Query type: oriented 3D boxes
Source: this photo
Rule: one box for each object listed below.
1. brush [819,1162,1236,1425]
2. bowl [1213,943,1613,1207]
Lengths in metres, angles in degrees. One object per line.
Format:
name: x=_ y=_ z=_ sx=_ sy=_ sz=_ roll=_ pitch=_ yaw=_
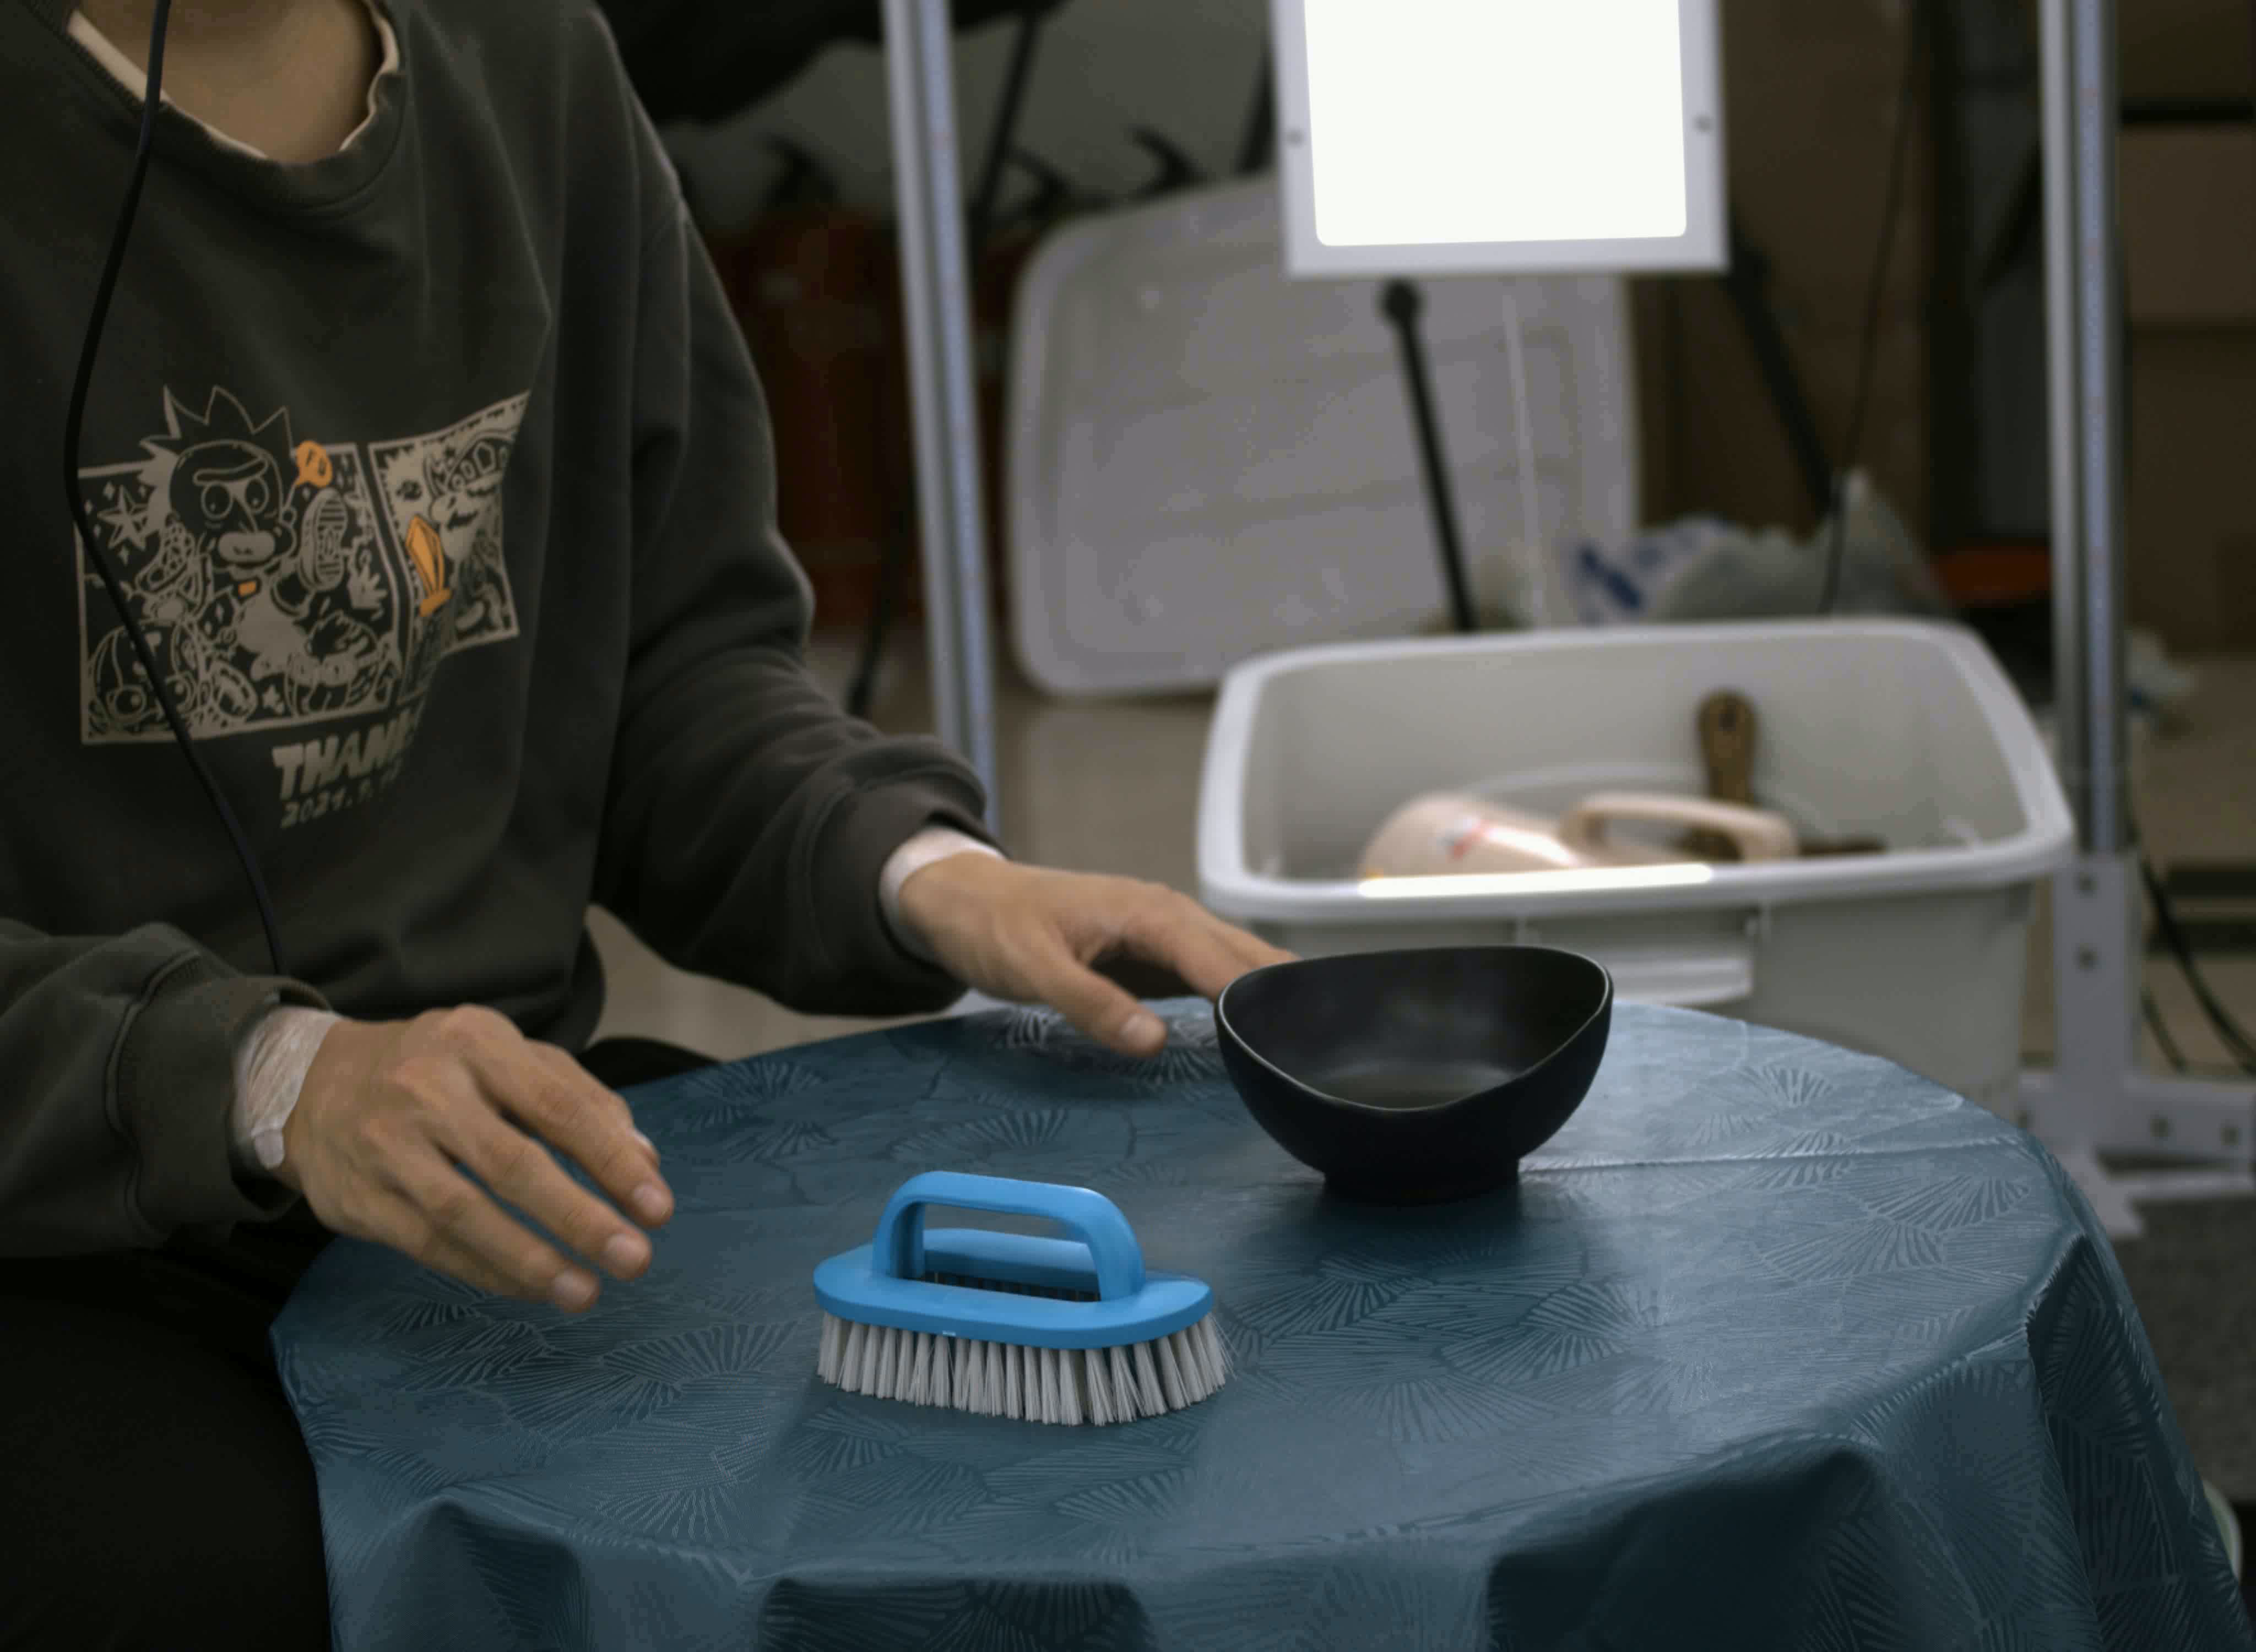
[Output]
brush: x=-0.036 y=0.139 z=1.723 sx=0.145 sy=0.064 sz=0.082 roll=4 pitch=21 yaw=36
bowl: x=0.100 y=0.089 z=1.882 sx=0.137 sy=0.067 sz=0.169 roll=-5 pitch=15 yaw=4
